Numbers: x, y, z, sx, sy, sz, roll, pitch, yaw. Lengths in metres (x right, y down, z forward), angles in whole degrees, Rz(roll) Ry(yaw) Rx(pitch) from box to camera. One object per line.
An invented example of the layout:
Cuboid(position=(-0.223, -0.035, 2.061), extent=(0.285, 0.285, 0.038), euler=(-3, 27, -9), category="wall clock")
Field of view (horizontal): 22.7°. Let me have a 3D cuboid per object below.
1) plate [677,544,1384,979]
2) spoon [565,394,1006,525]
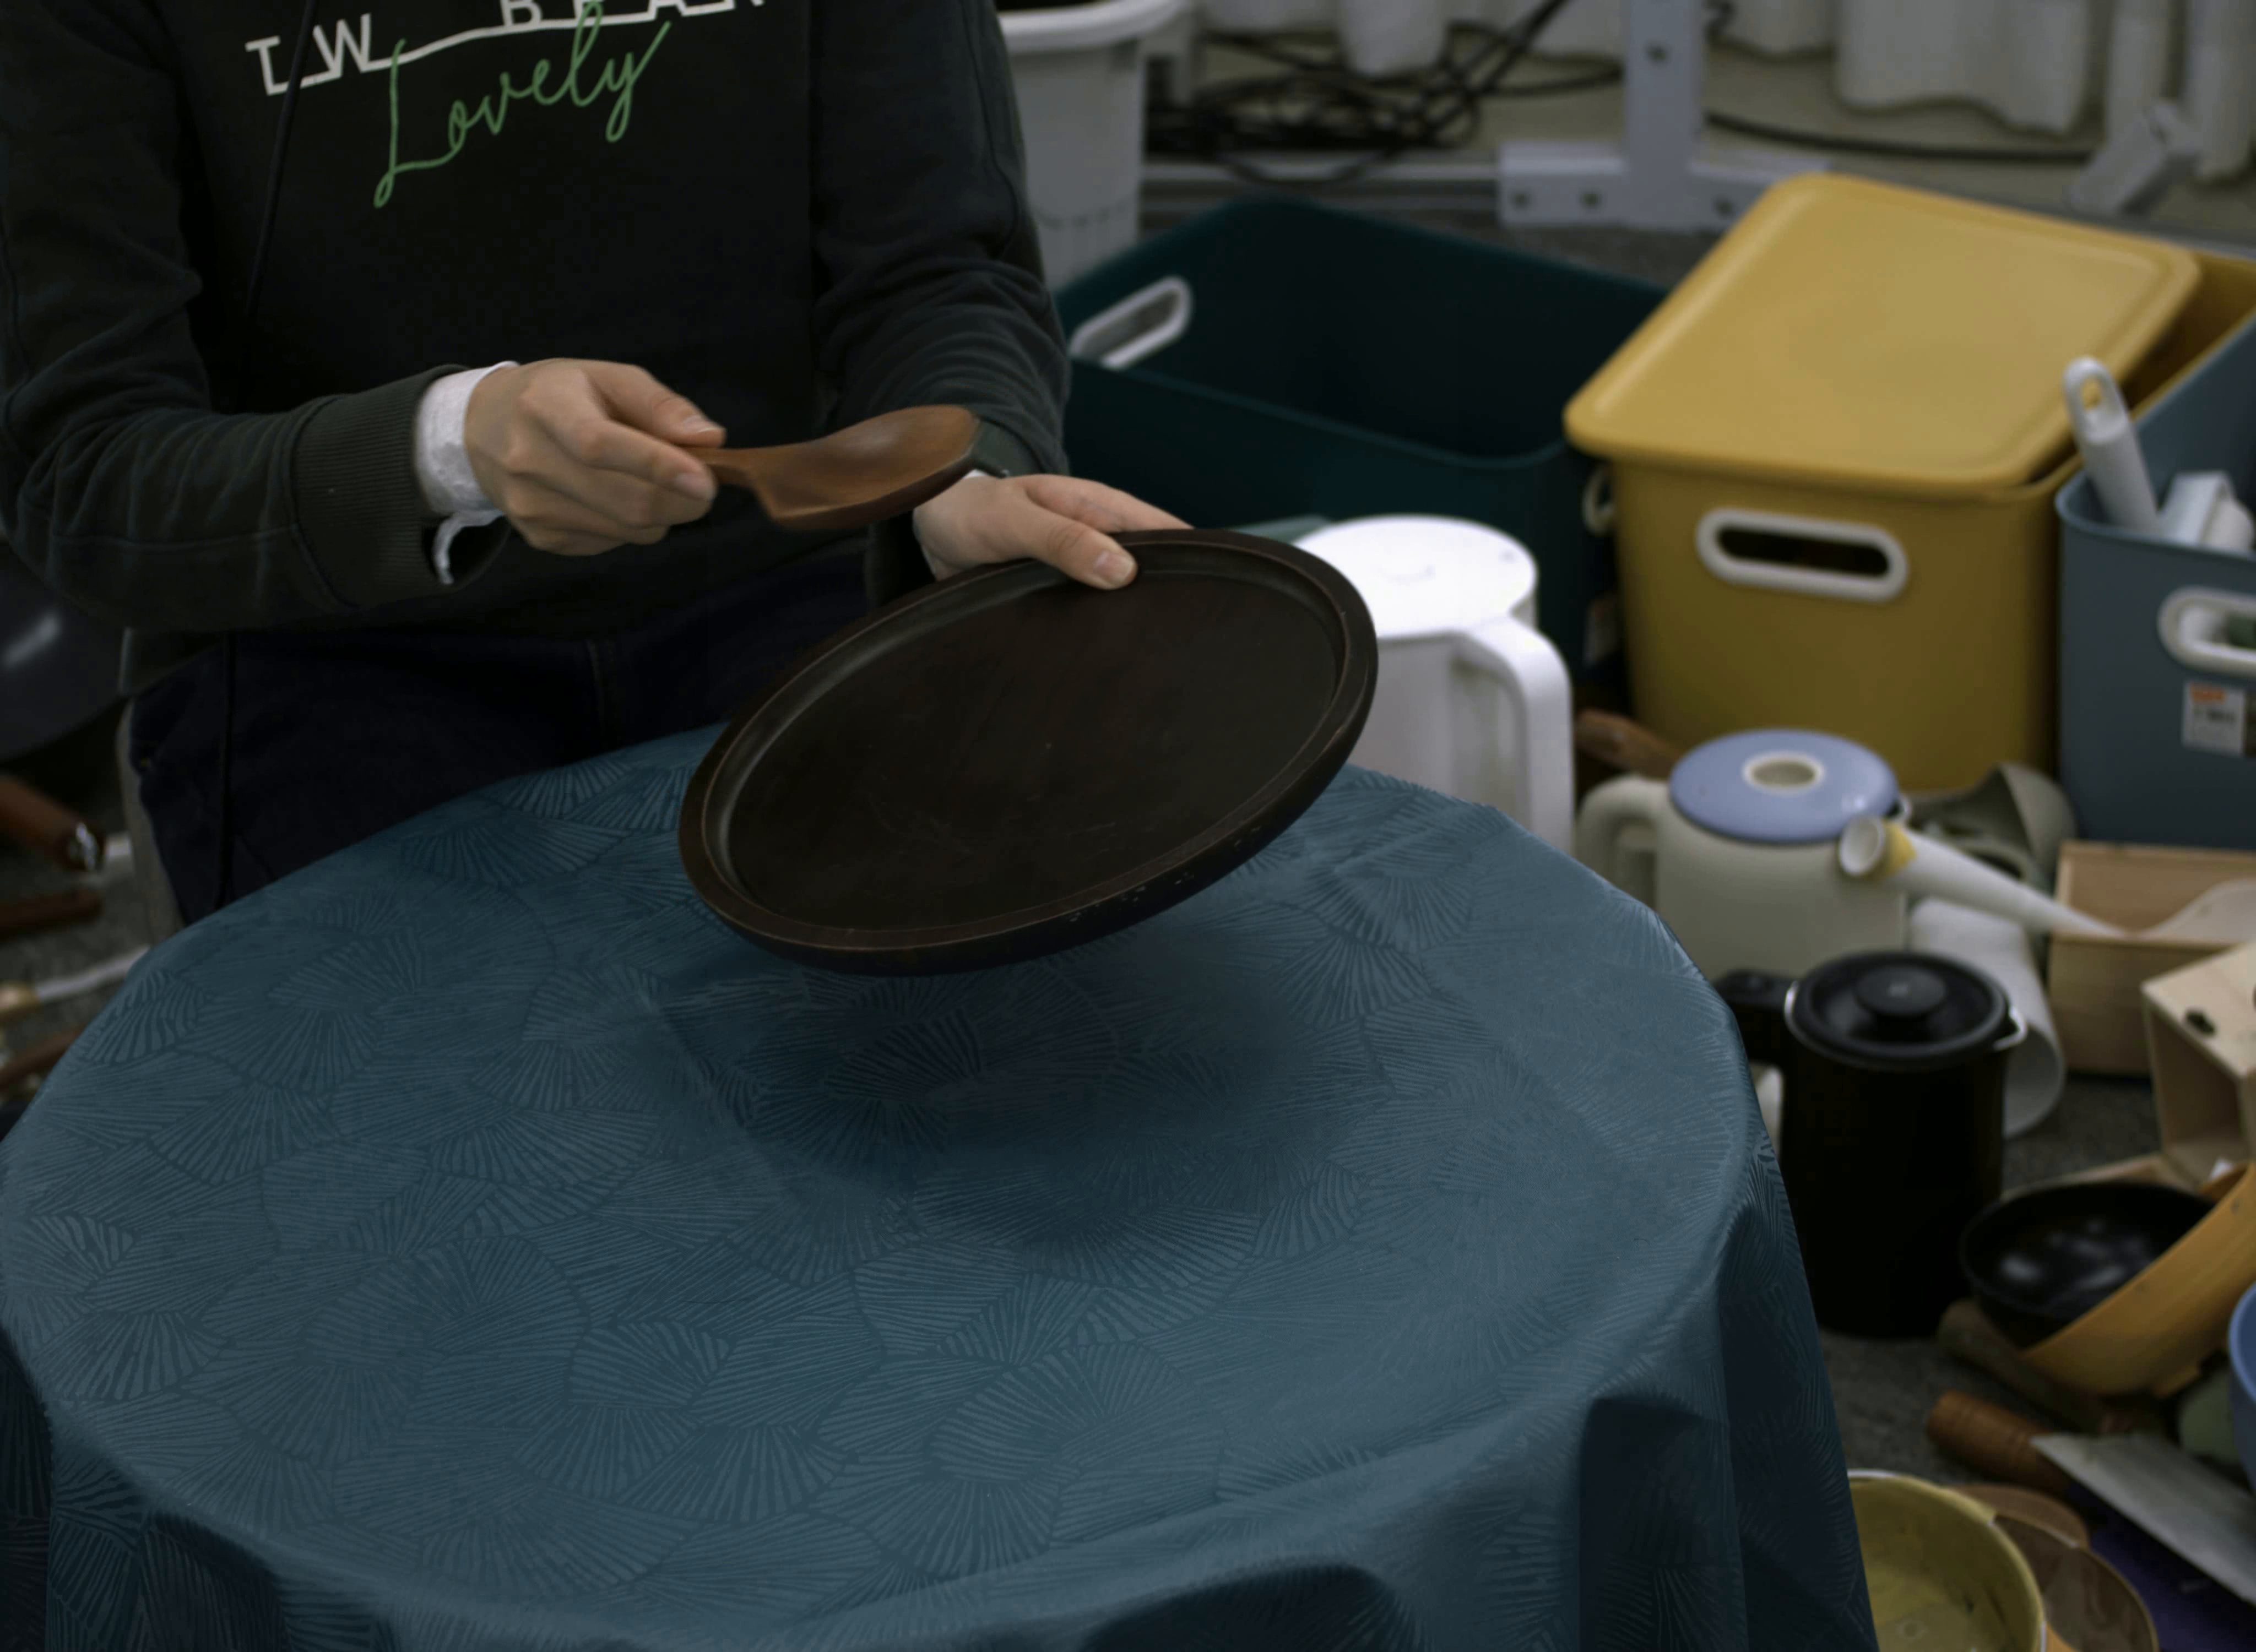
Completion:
Cuboid(position=(-0.033, -0.024, 1.936), extent=(0.253, 0.029, 0.259), euler=(-13, 31, 8), category="plate")
Cuboid(position=(-0.121, -0.123, 1.923), extent=(0.214, 0.017, 0.076), euler=(5, 36, 47), category="spoon")
